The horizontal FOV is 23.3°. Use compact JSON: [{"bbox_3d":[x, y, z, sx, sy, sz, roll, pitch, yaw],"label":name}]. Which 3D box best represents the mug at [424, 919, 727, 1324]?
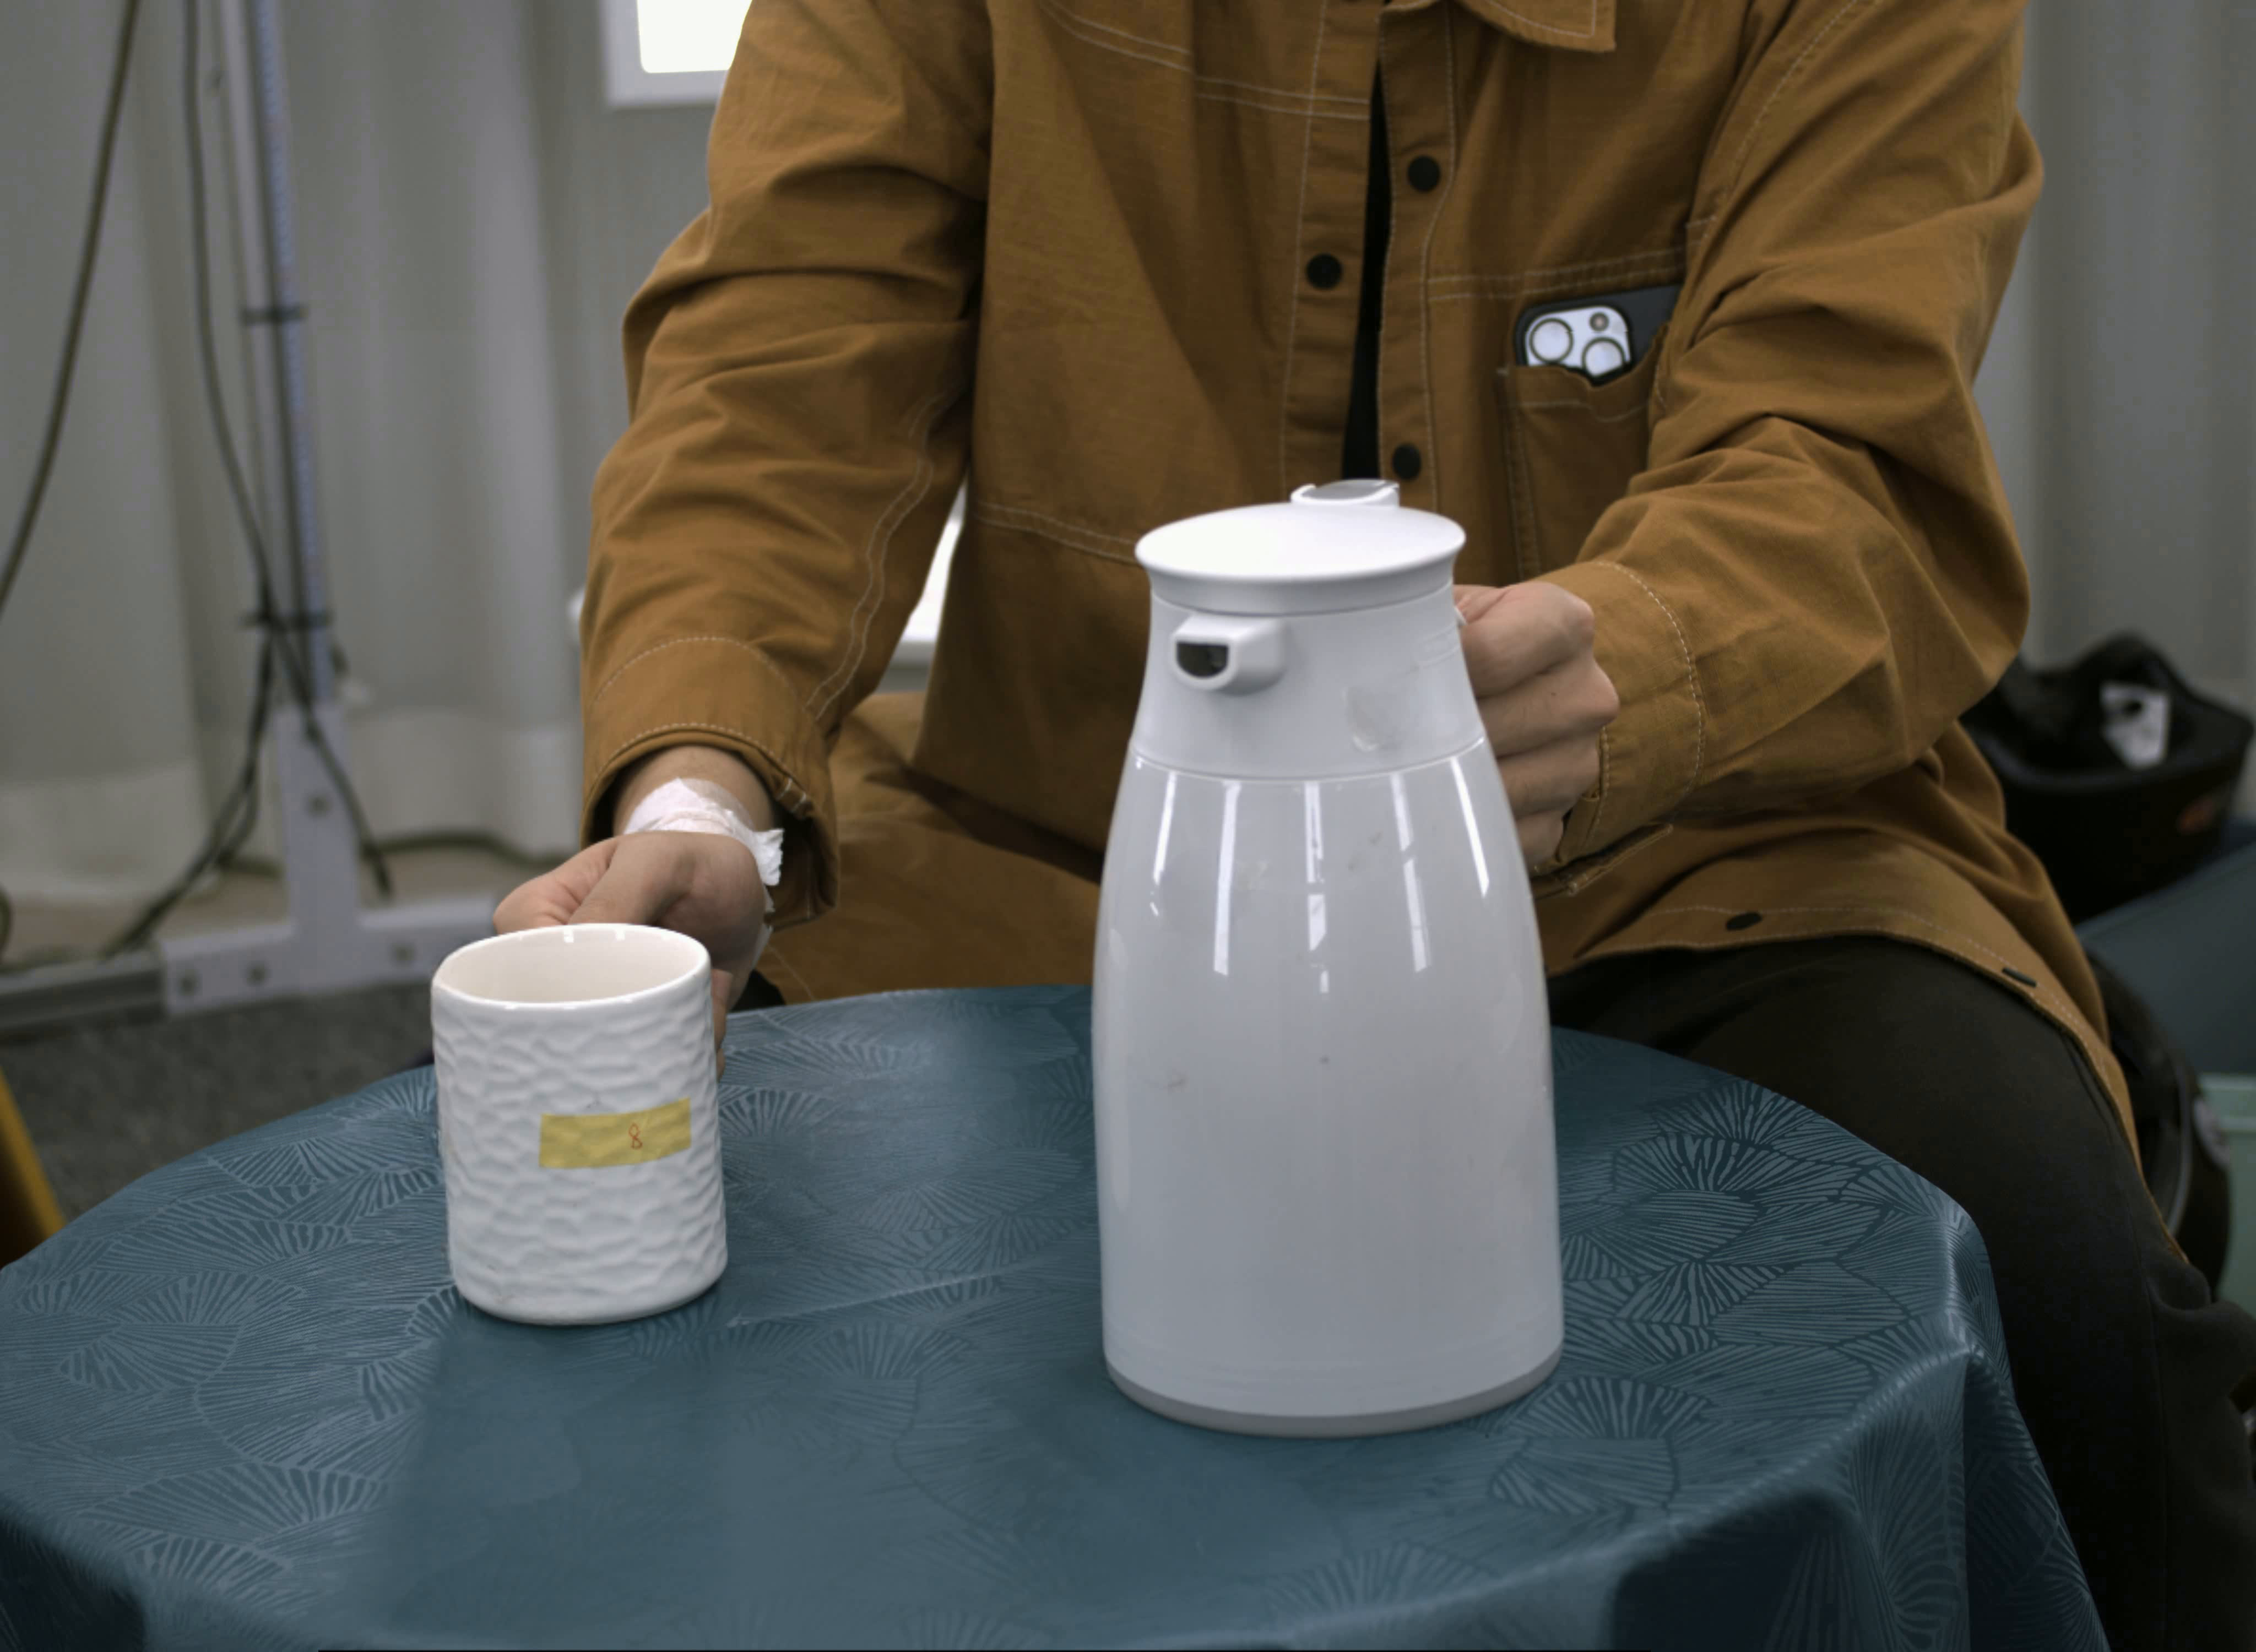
[{"bbox_3d":[-0.165,0.085,1.658,0.084,0.101,0.119,-3,14,-1],"label":"mug"}]

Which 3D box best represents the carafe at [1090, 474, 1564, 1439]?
[{"bbox_3d":[0.060,0.028,1.551,0.133,0.248,0.168,3,14,26],"label":"carafe"}]
